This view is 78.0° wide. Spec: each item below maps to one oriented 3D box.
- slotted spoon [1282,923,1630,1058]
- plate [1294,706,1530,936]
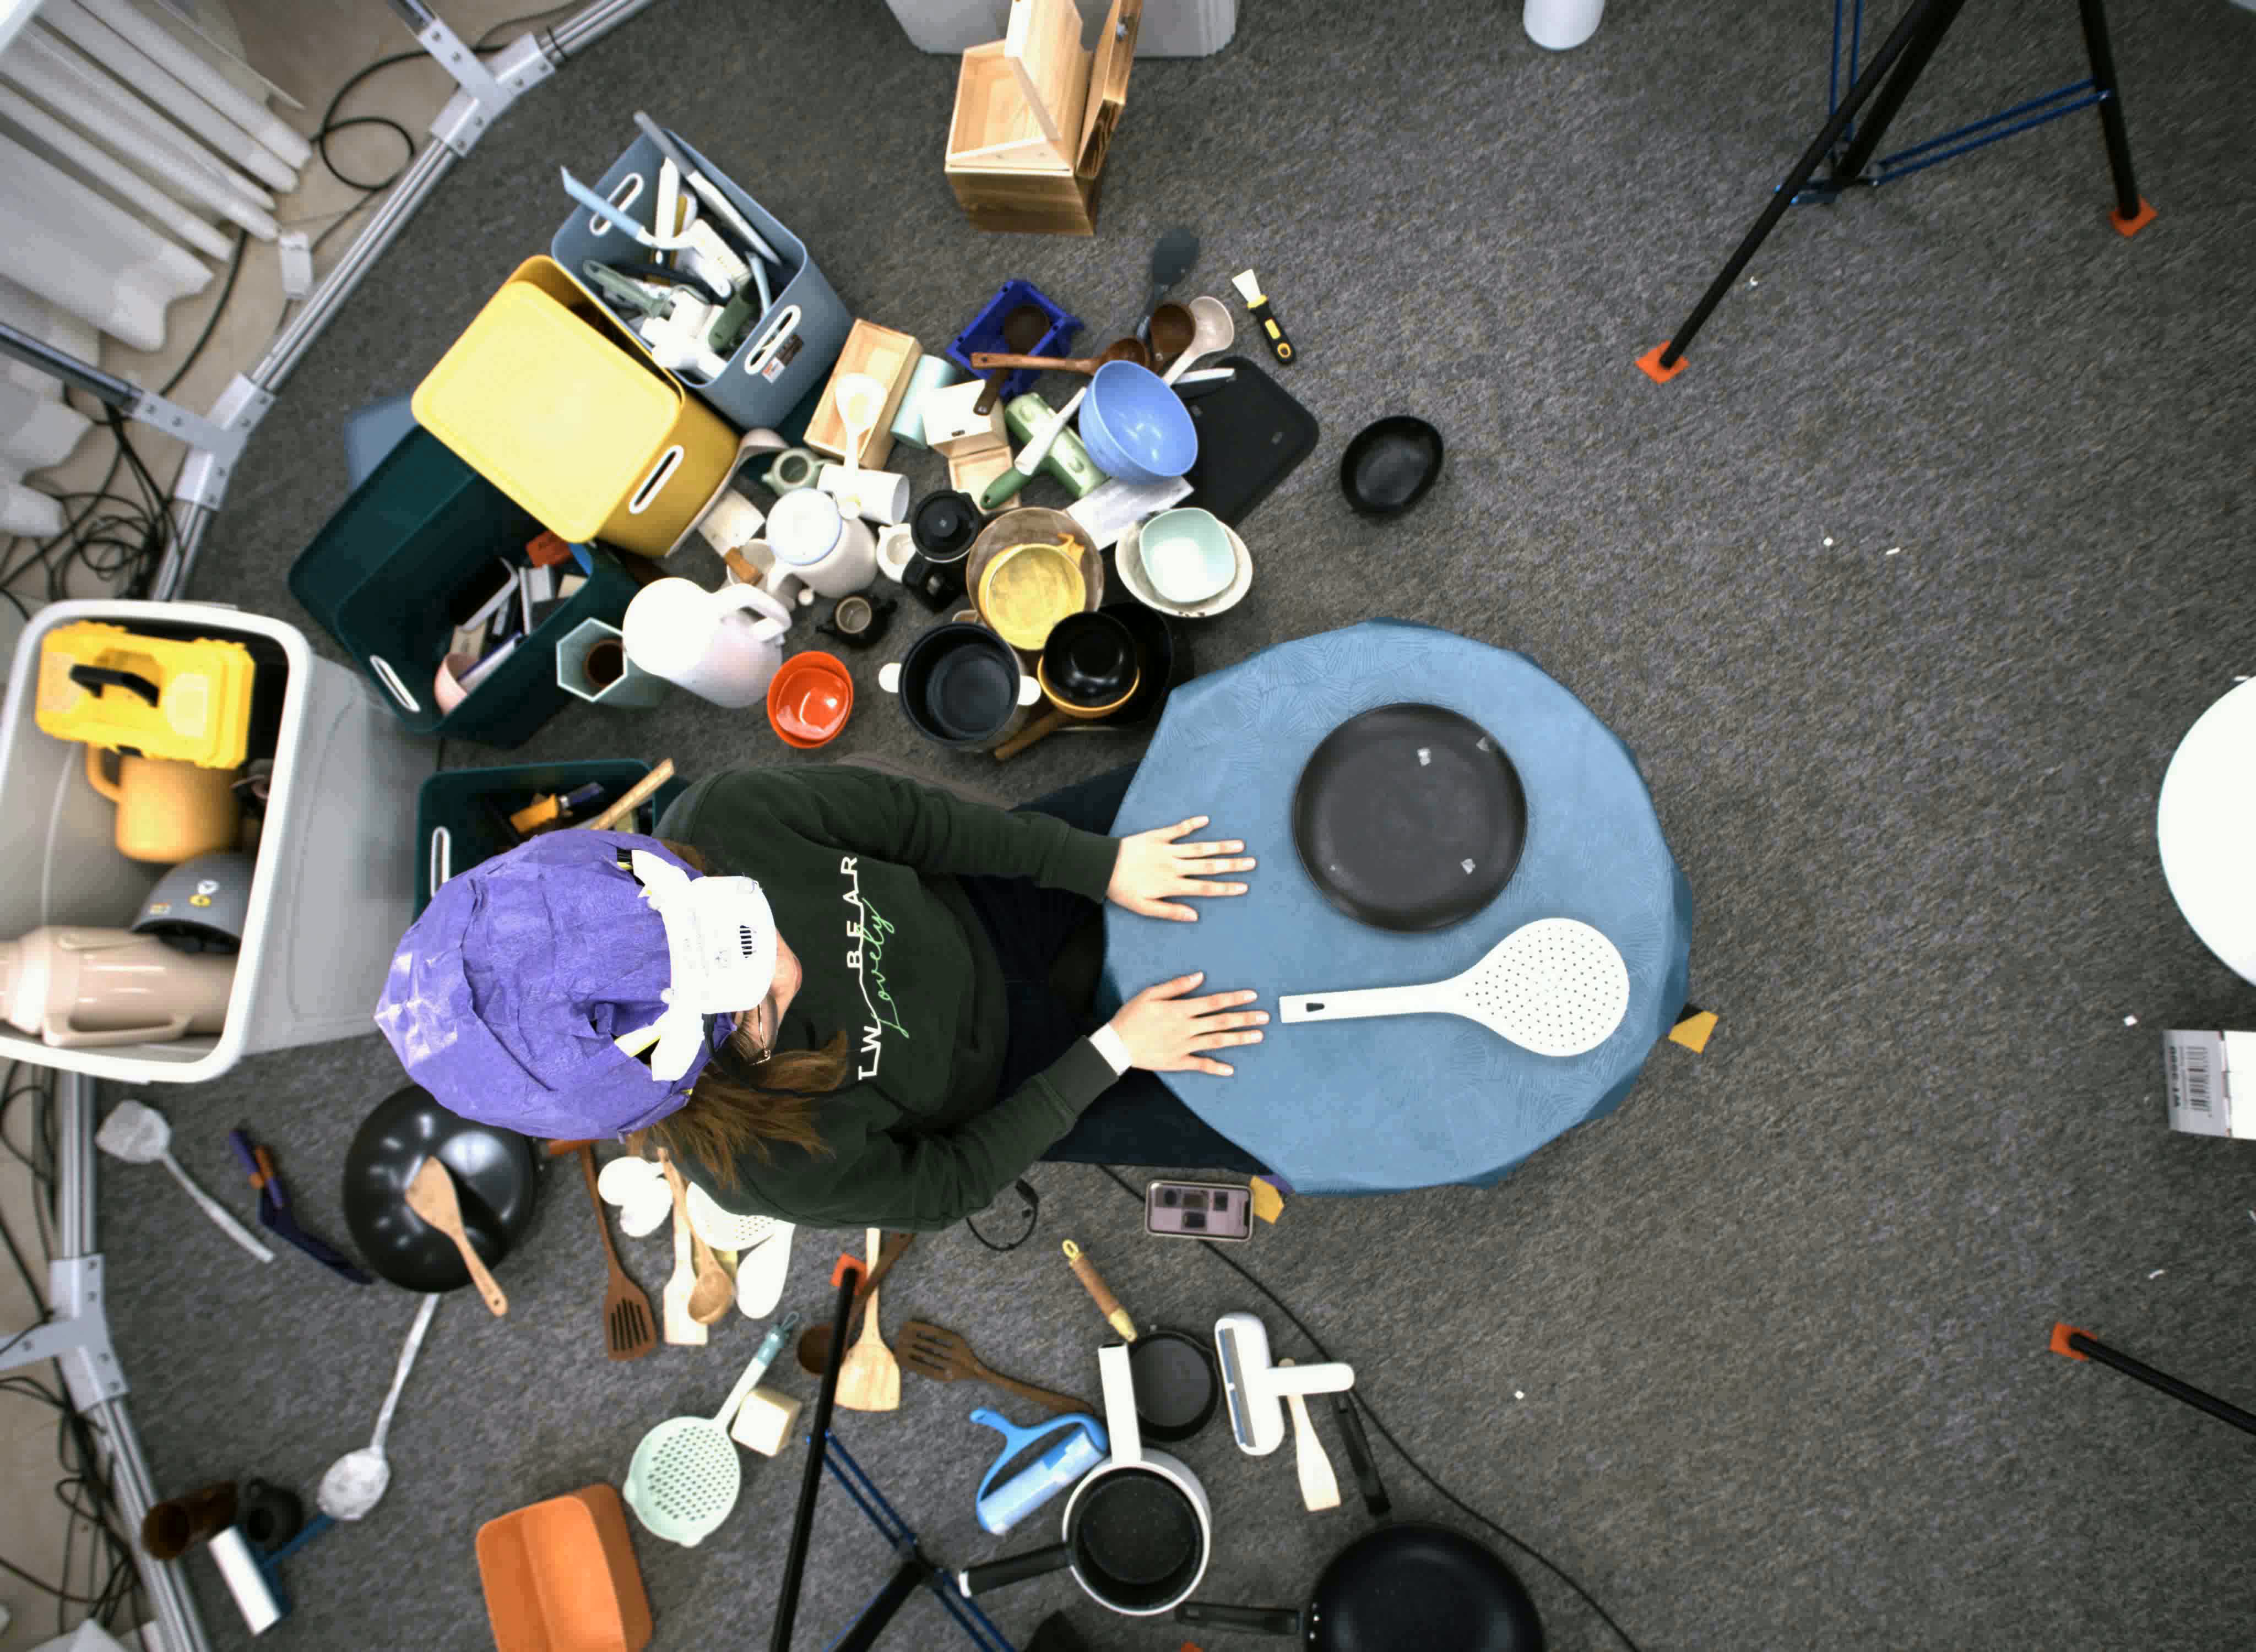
[{"bbox_3d":[0.333,0.176,1.423,0.351,0.046,0.135,-6,83,11],"label":"slotted spoon"},{"bbox_3d":[0.298,-0.006,1.453,0.245,0.023,0.243,-1,86,11],"label":"plate"}]
